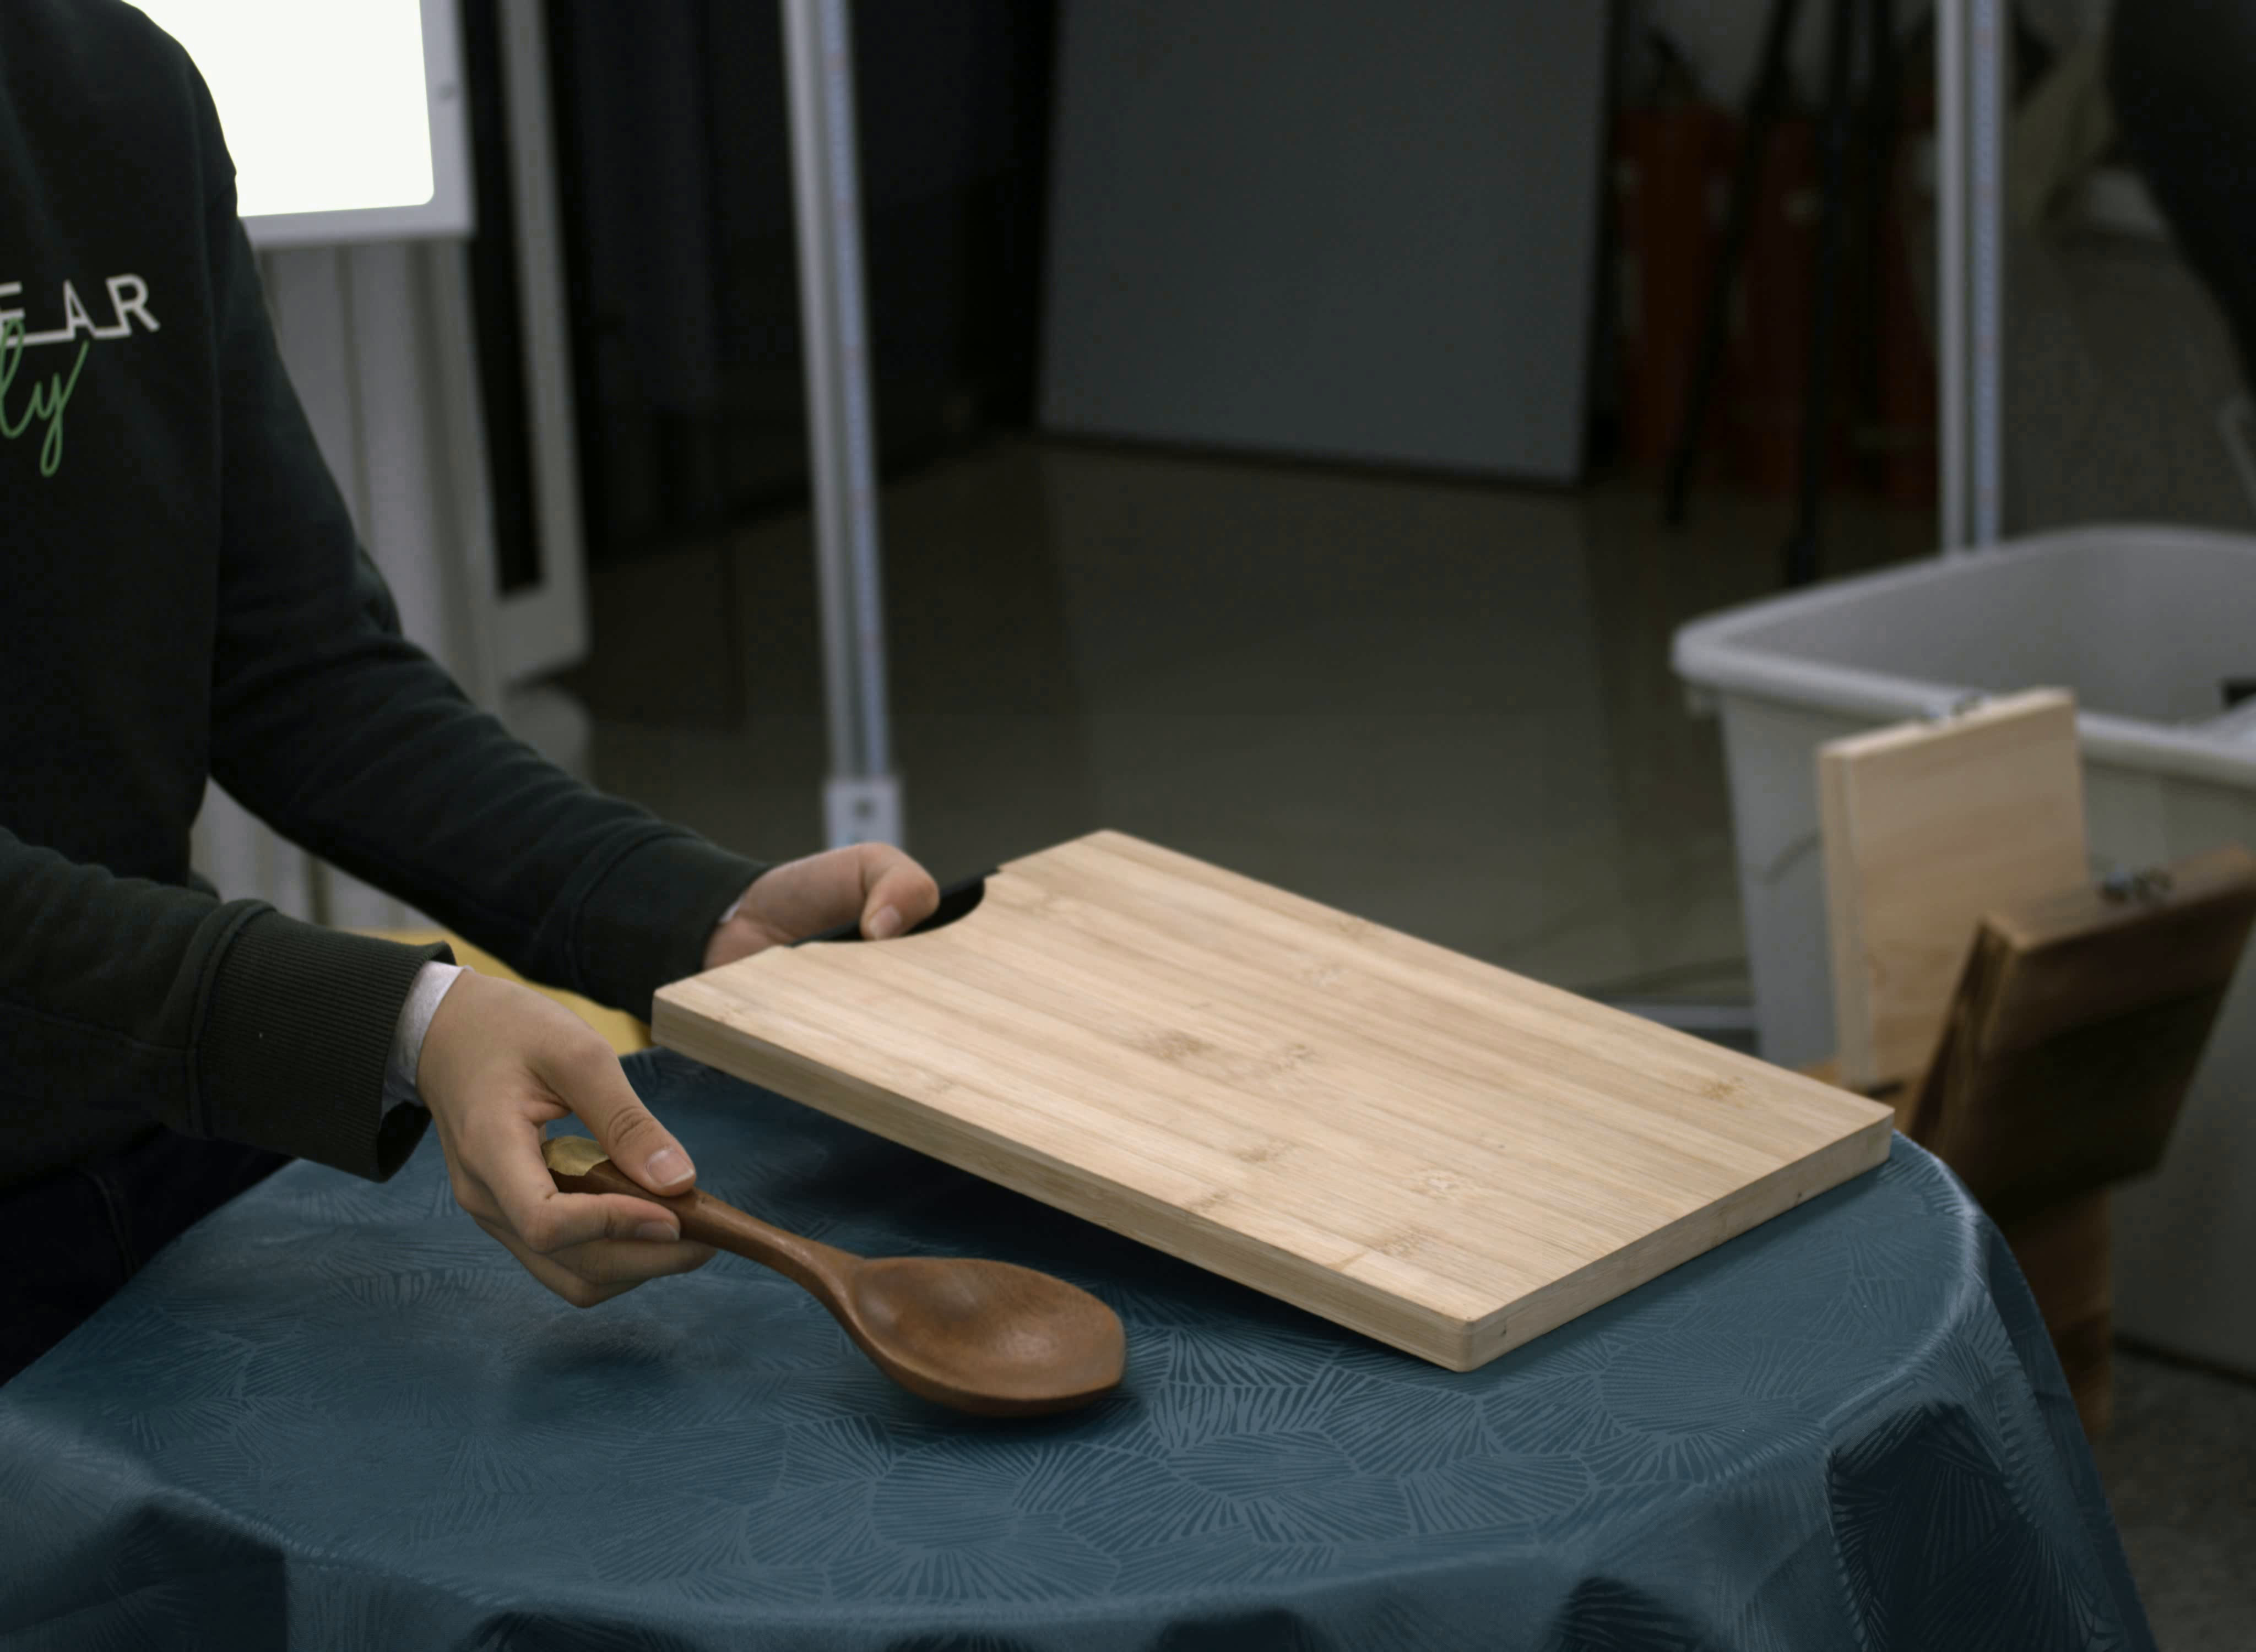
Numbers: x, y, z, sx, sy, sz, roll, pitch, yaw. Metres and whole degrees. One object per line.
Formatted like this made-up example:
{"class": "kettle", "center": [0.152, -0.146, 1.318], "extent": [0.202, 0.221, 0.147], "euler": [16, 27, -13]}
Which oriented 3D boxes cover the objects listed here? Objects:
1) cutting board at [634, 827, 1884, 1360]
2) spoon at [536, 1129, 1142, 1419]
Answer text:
{"class": "cutting board", "center": [0.041, 0.080, 1.770], "extent": [0.351, 0.024, 0.246], "euler": [19, 24, 36]}
{"class": "spoon", "center": [-0.090, 0.133, 1.618], "extent": [0.217, 0.017, 0.074], "euler": [20, 32, 29]}
